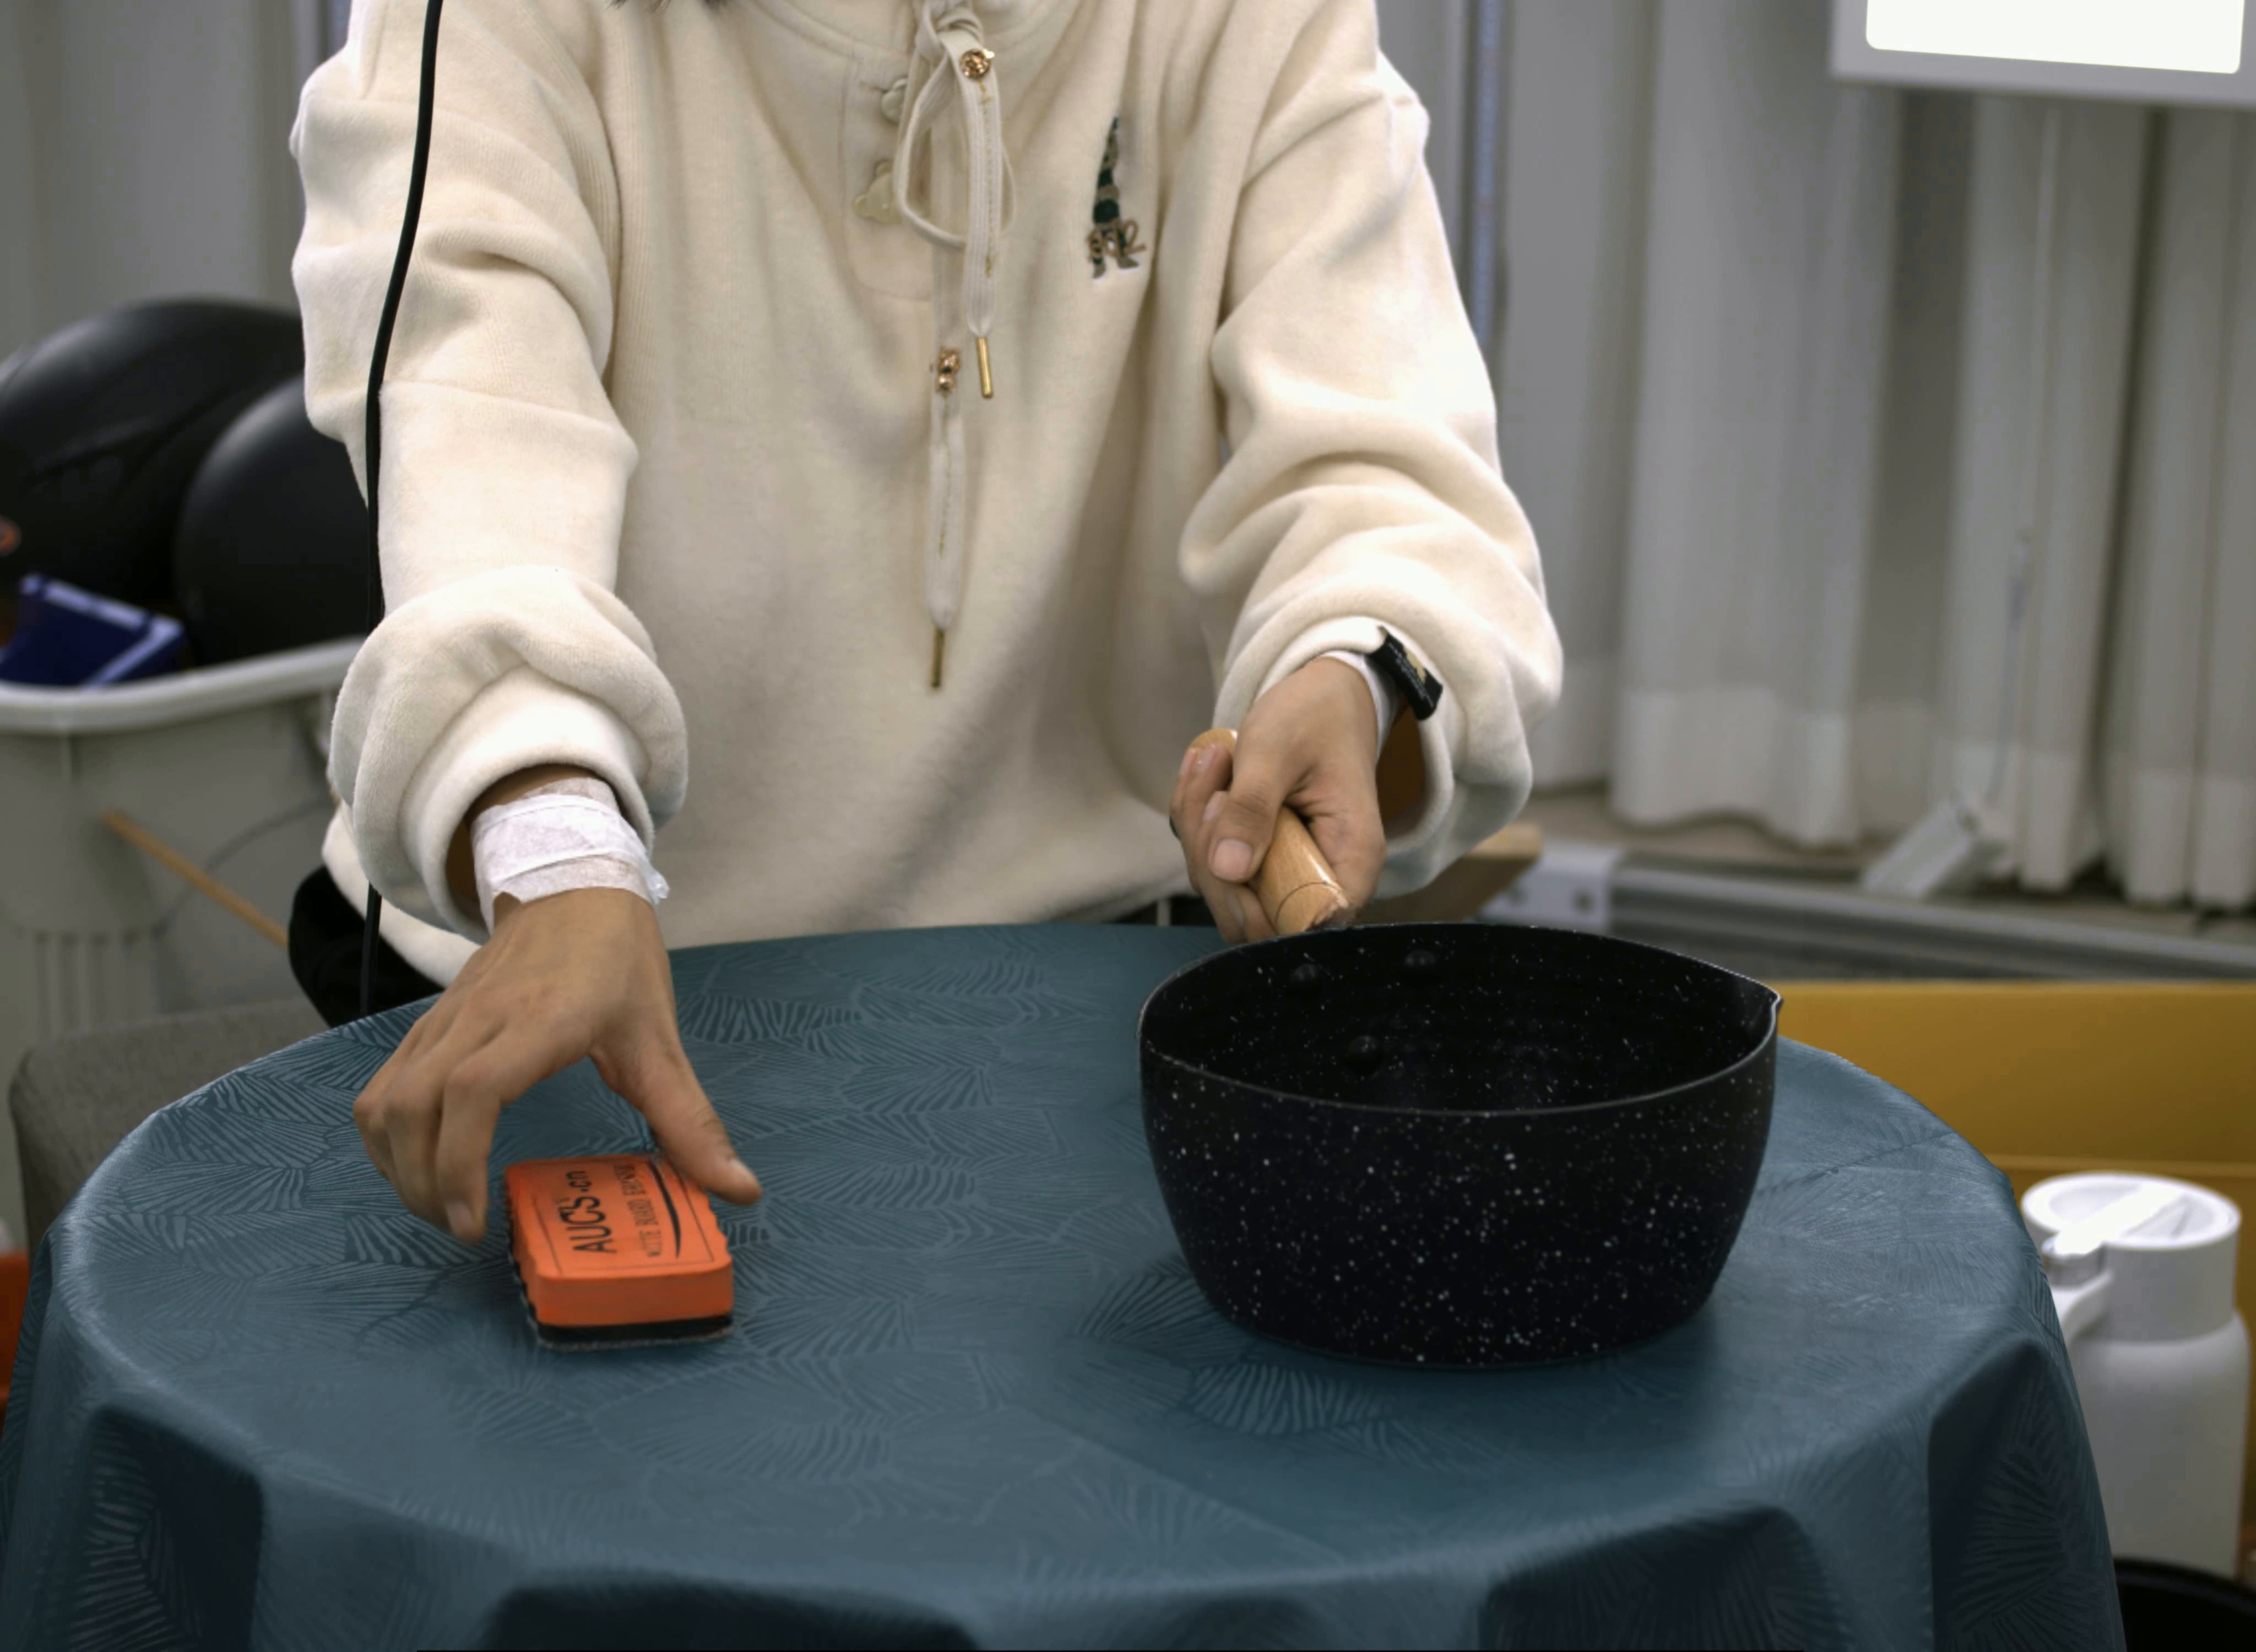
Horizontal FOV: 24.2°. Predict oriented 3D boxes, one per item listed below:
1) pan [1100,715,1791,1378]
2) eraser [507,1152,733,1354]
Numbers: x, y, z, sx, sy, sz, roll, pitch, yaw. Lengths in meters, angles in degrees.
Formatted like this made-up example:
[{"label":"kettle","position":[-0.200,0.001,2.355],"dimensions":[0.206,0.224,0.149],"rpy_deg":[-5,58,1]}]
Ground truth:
[{"label":"pan","position":[0.073,0.062,1.602],"dimensions":[0.208,0.109,0.339],"rpy_deg":[-6,18,-16]},{"label":"eraser","position":[-0.149,0.123,1.534],"dimensions":[0.059,0.023,0.107],"rpy_deg":[-4,16,-10]}]
